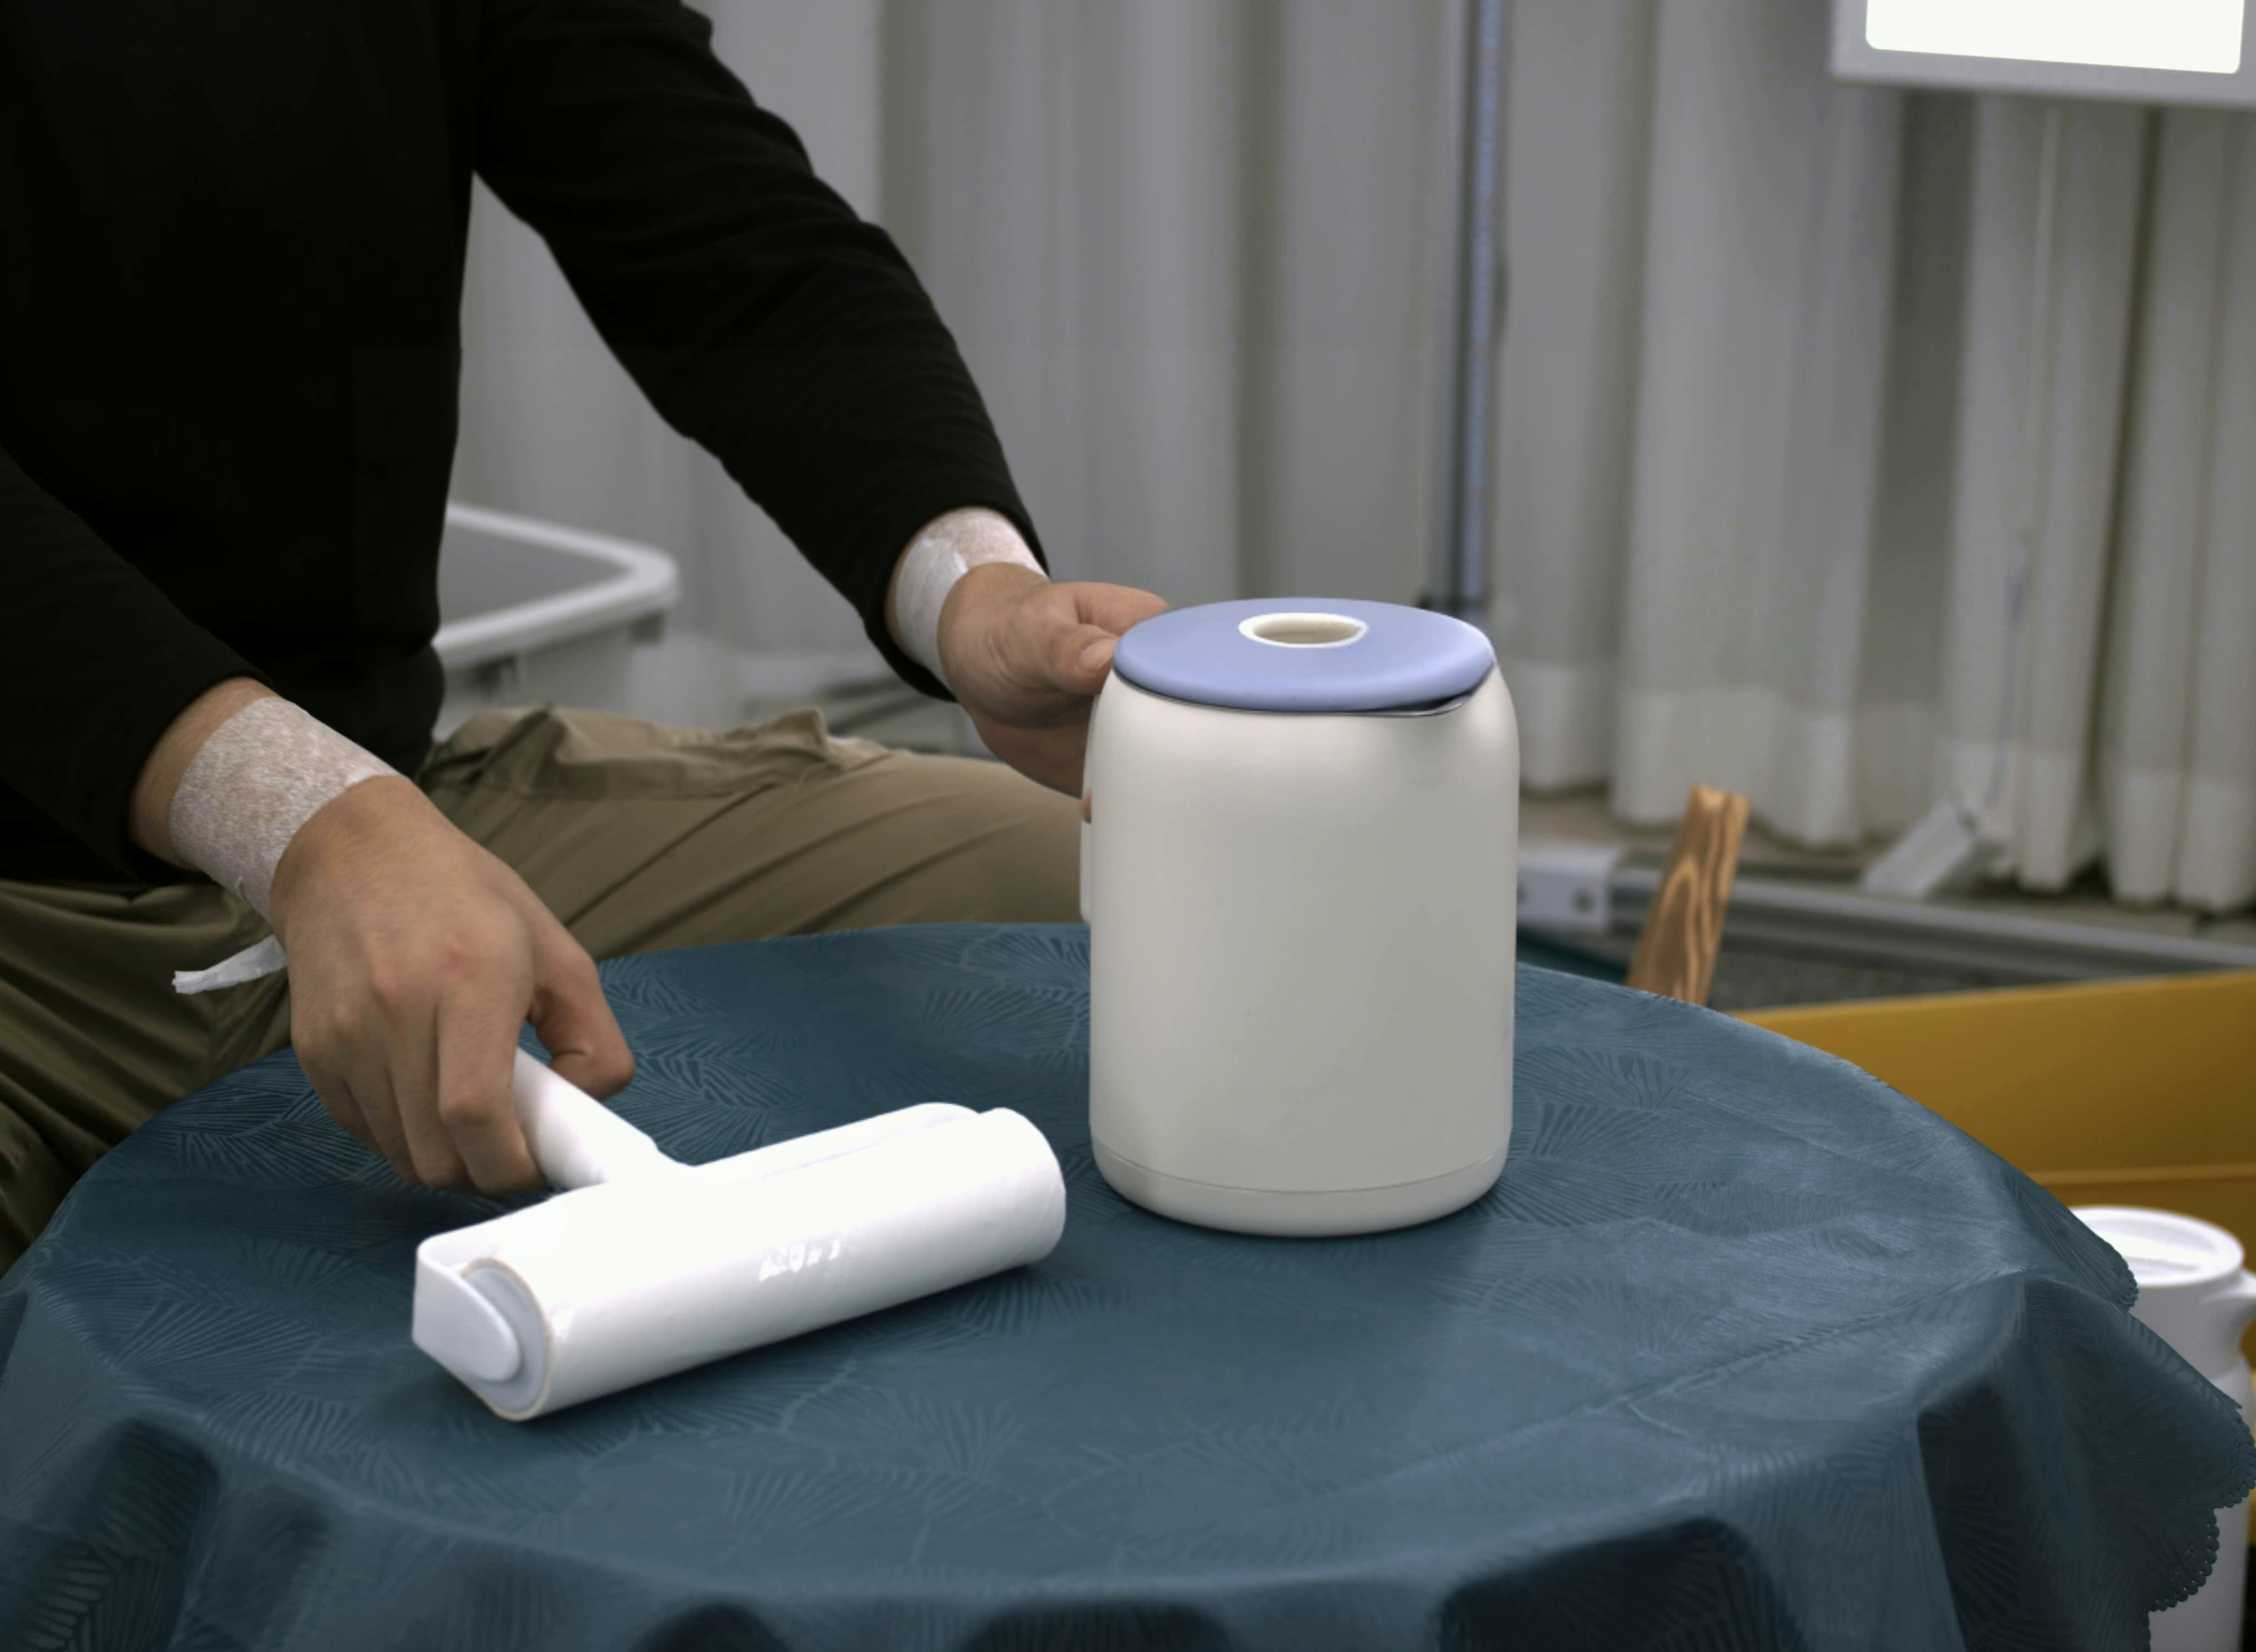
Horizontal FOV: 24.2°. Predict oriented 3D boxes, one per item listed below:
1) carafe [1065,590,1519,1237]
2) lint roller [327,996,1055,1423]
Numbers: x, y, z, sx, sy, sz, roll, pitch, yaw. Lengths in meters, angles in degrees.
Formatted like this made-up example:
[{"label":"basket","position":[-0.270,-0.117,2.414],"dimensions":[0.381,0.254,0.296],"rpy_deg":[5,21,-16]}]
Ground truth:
[{"label":"carafe","position":[0.040,0.020,1.631],"dimensions":[0.133,0.184,0.188],"rpy_deg":[-10,17,-34]},{"label":"lint roller","position":[-0.163,0.091,1.546],"dimensions":[0.204,0.049,0.222],"rpy_deg":[-15,32,-42]}]
